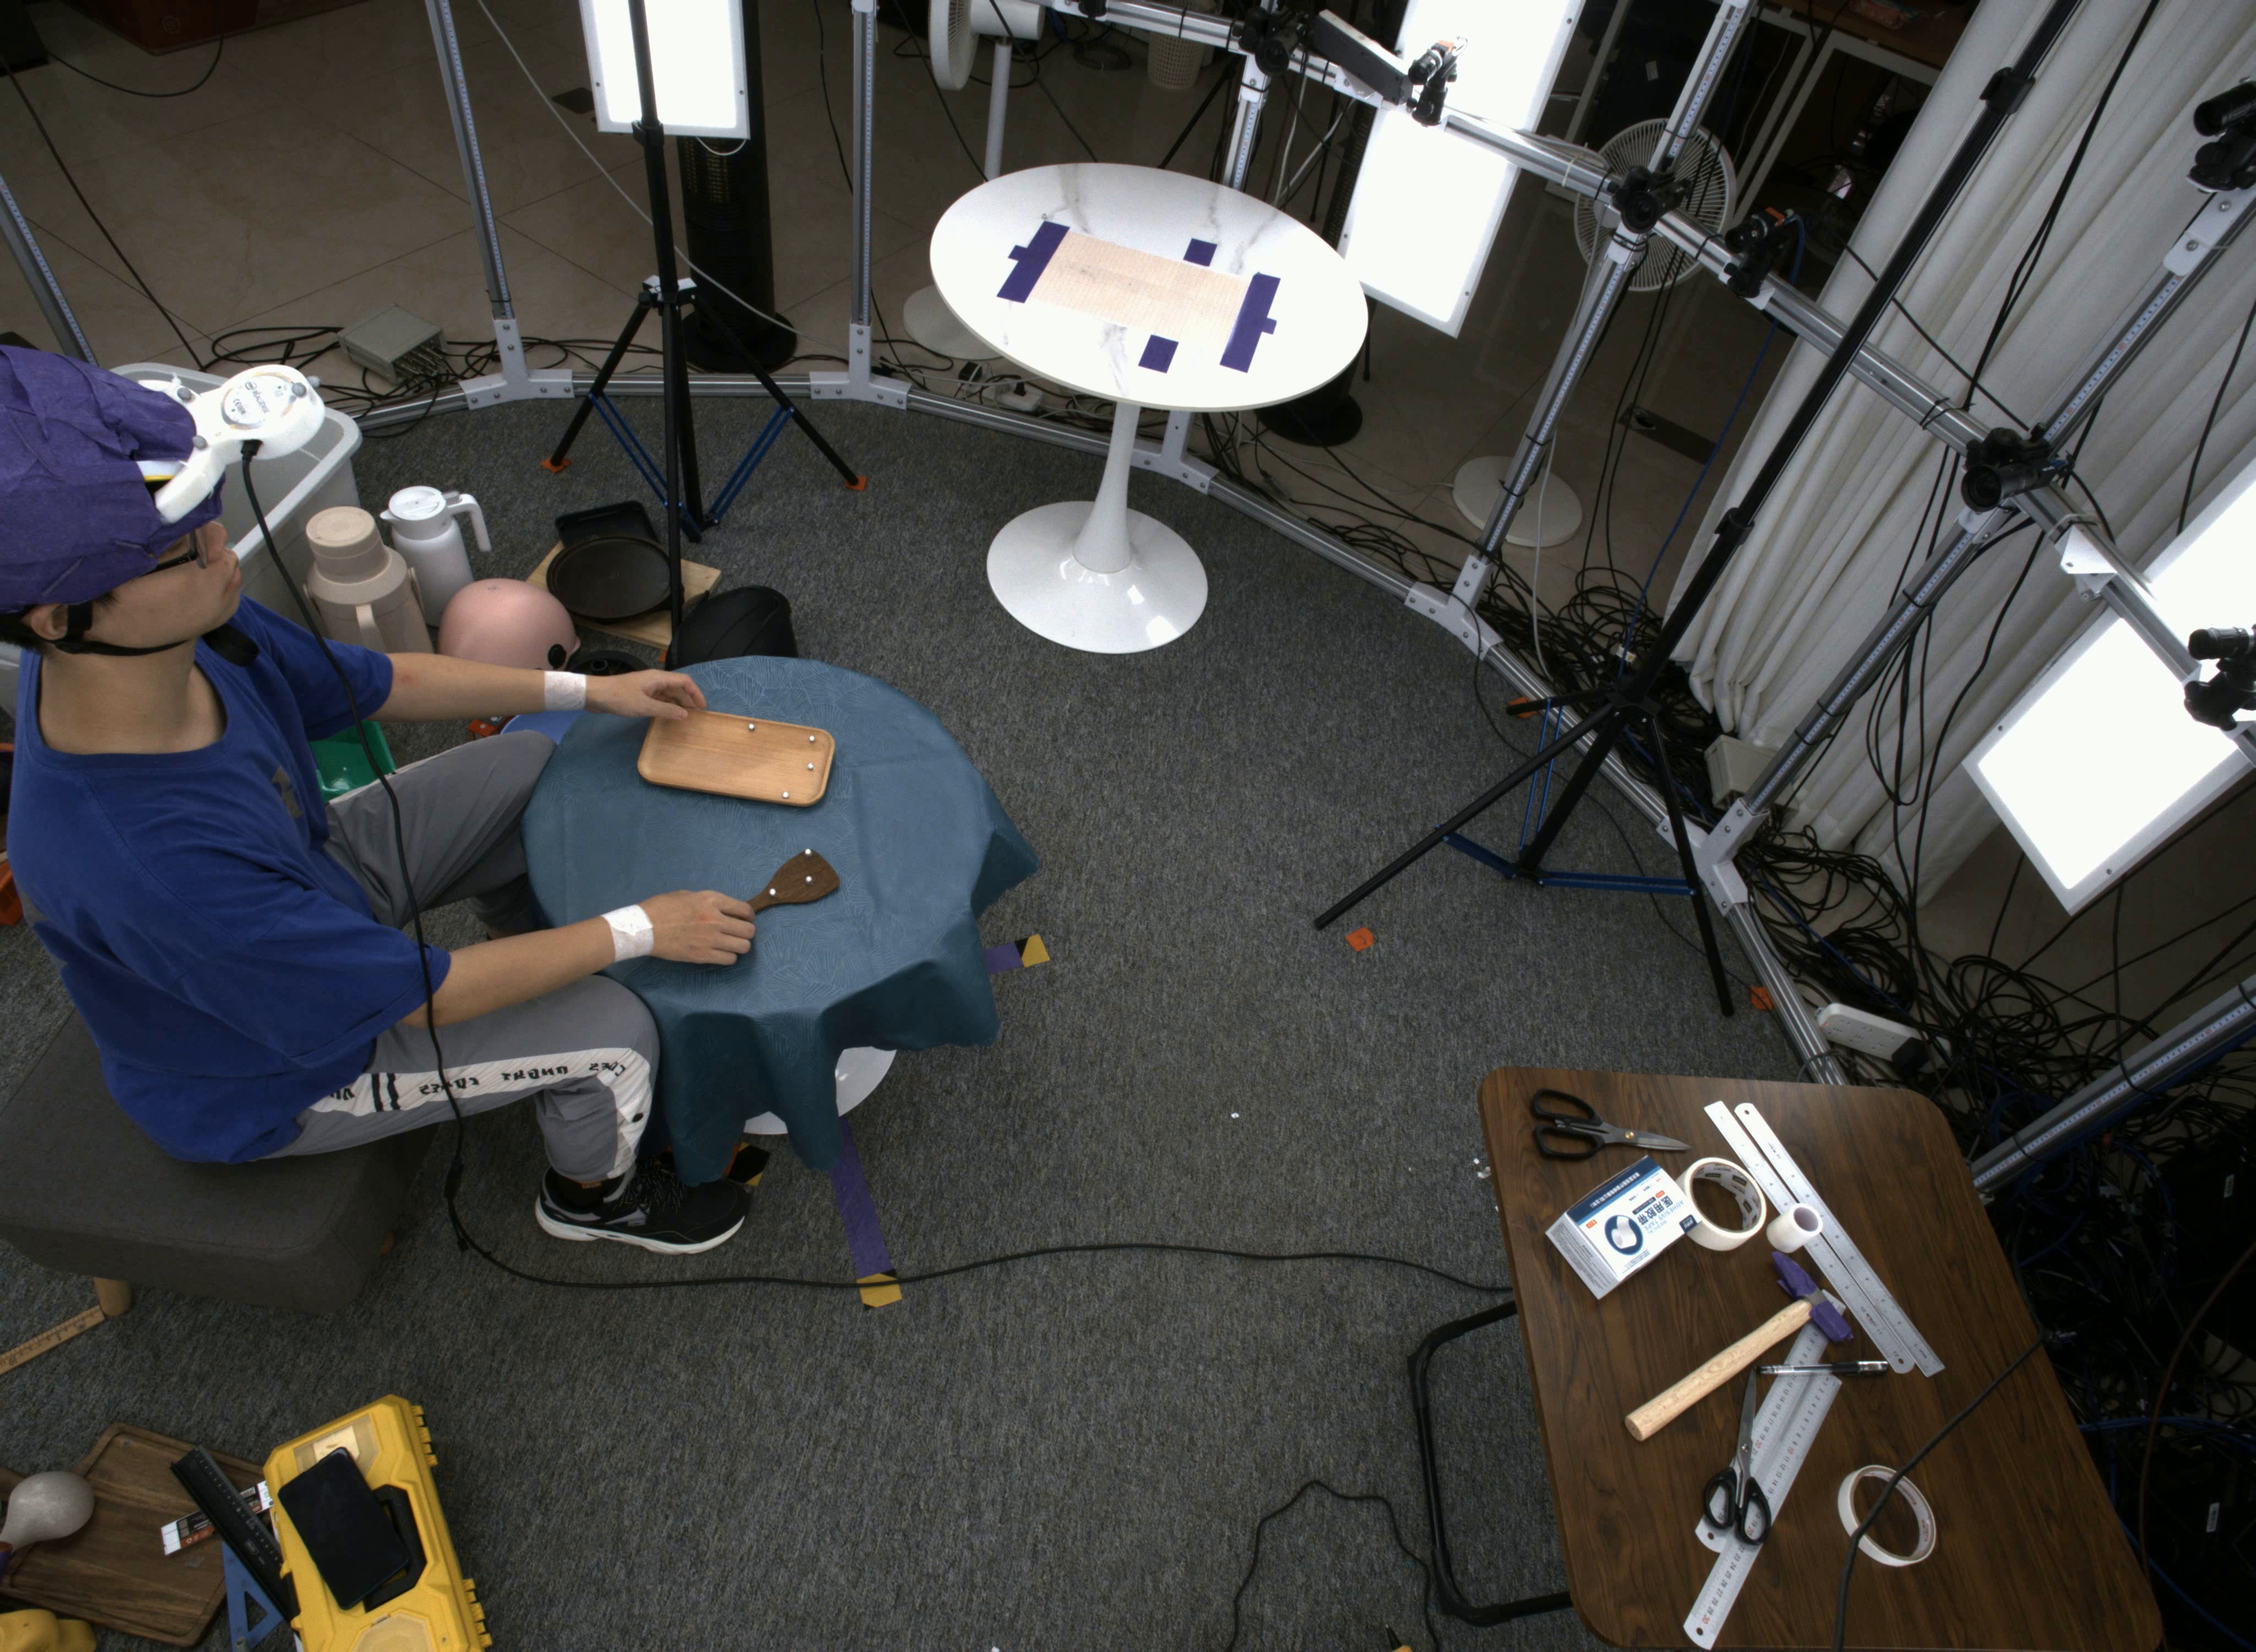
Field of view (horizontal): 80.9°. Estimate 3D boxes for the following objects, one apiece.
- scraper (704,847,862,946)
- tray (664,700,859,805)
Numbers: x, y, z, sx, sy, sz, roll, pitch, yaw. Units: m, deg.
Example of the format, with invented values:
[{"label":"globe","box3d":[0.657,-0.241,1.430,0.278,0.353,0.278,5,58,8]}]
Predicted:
[{"label":"scraper","box3d":[-0.443,0.094,1.653,0.212,0.011,0.074,-30,64,-31]},{"label":"tray","box3d":[-0.501,-0.101,1.769,0.250,0.023,0.128,11,55,-7]}]
